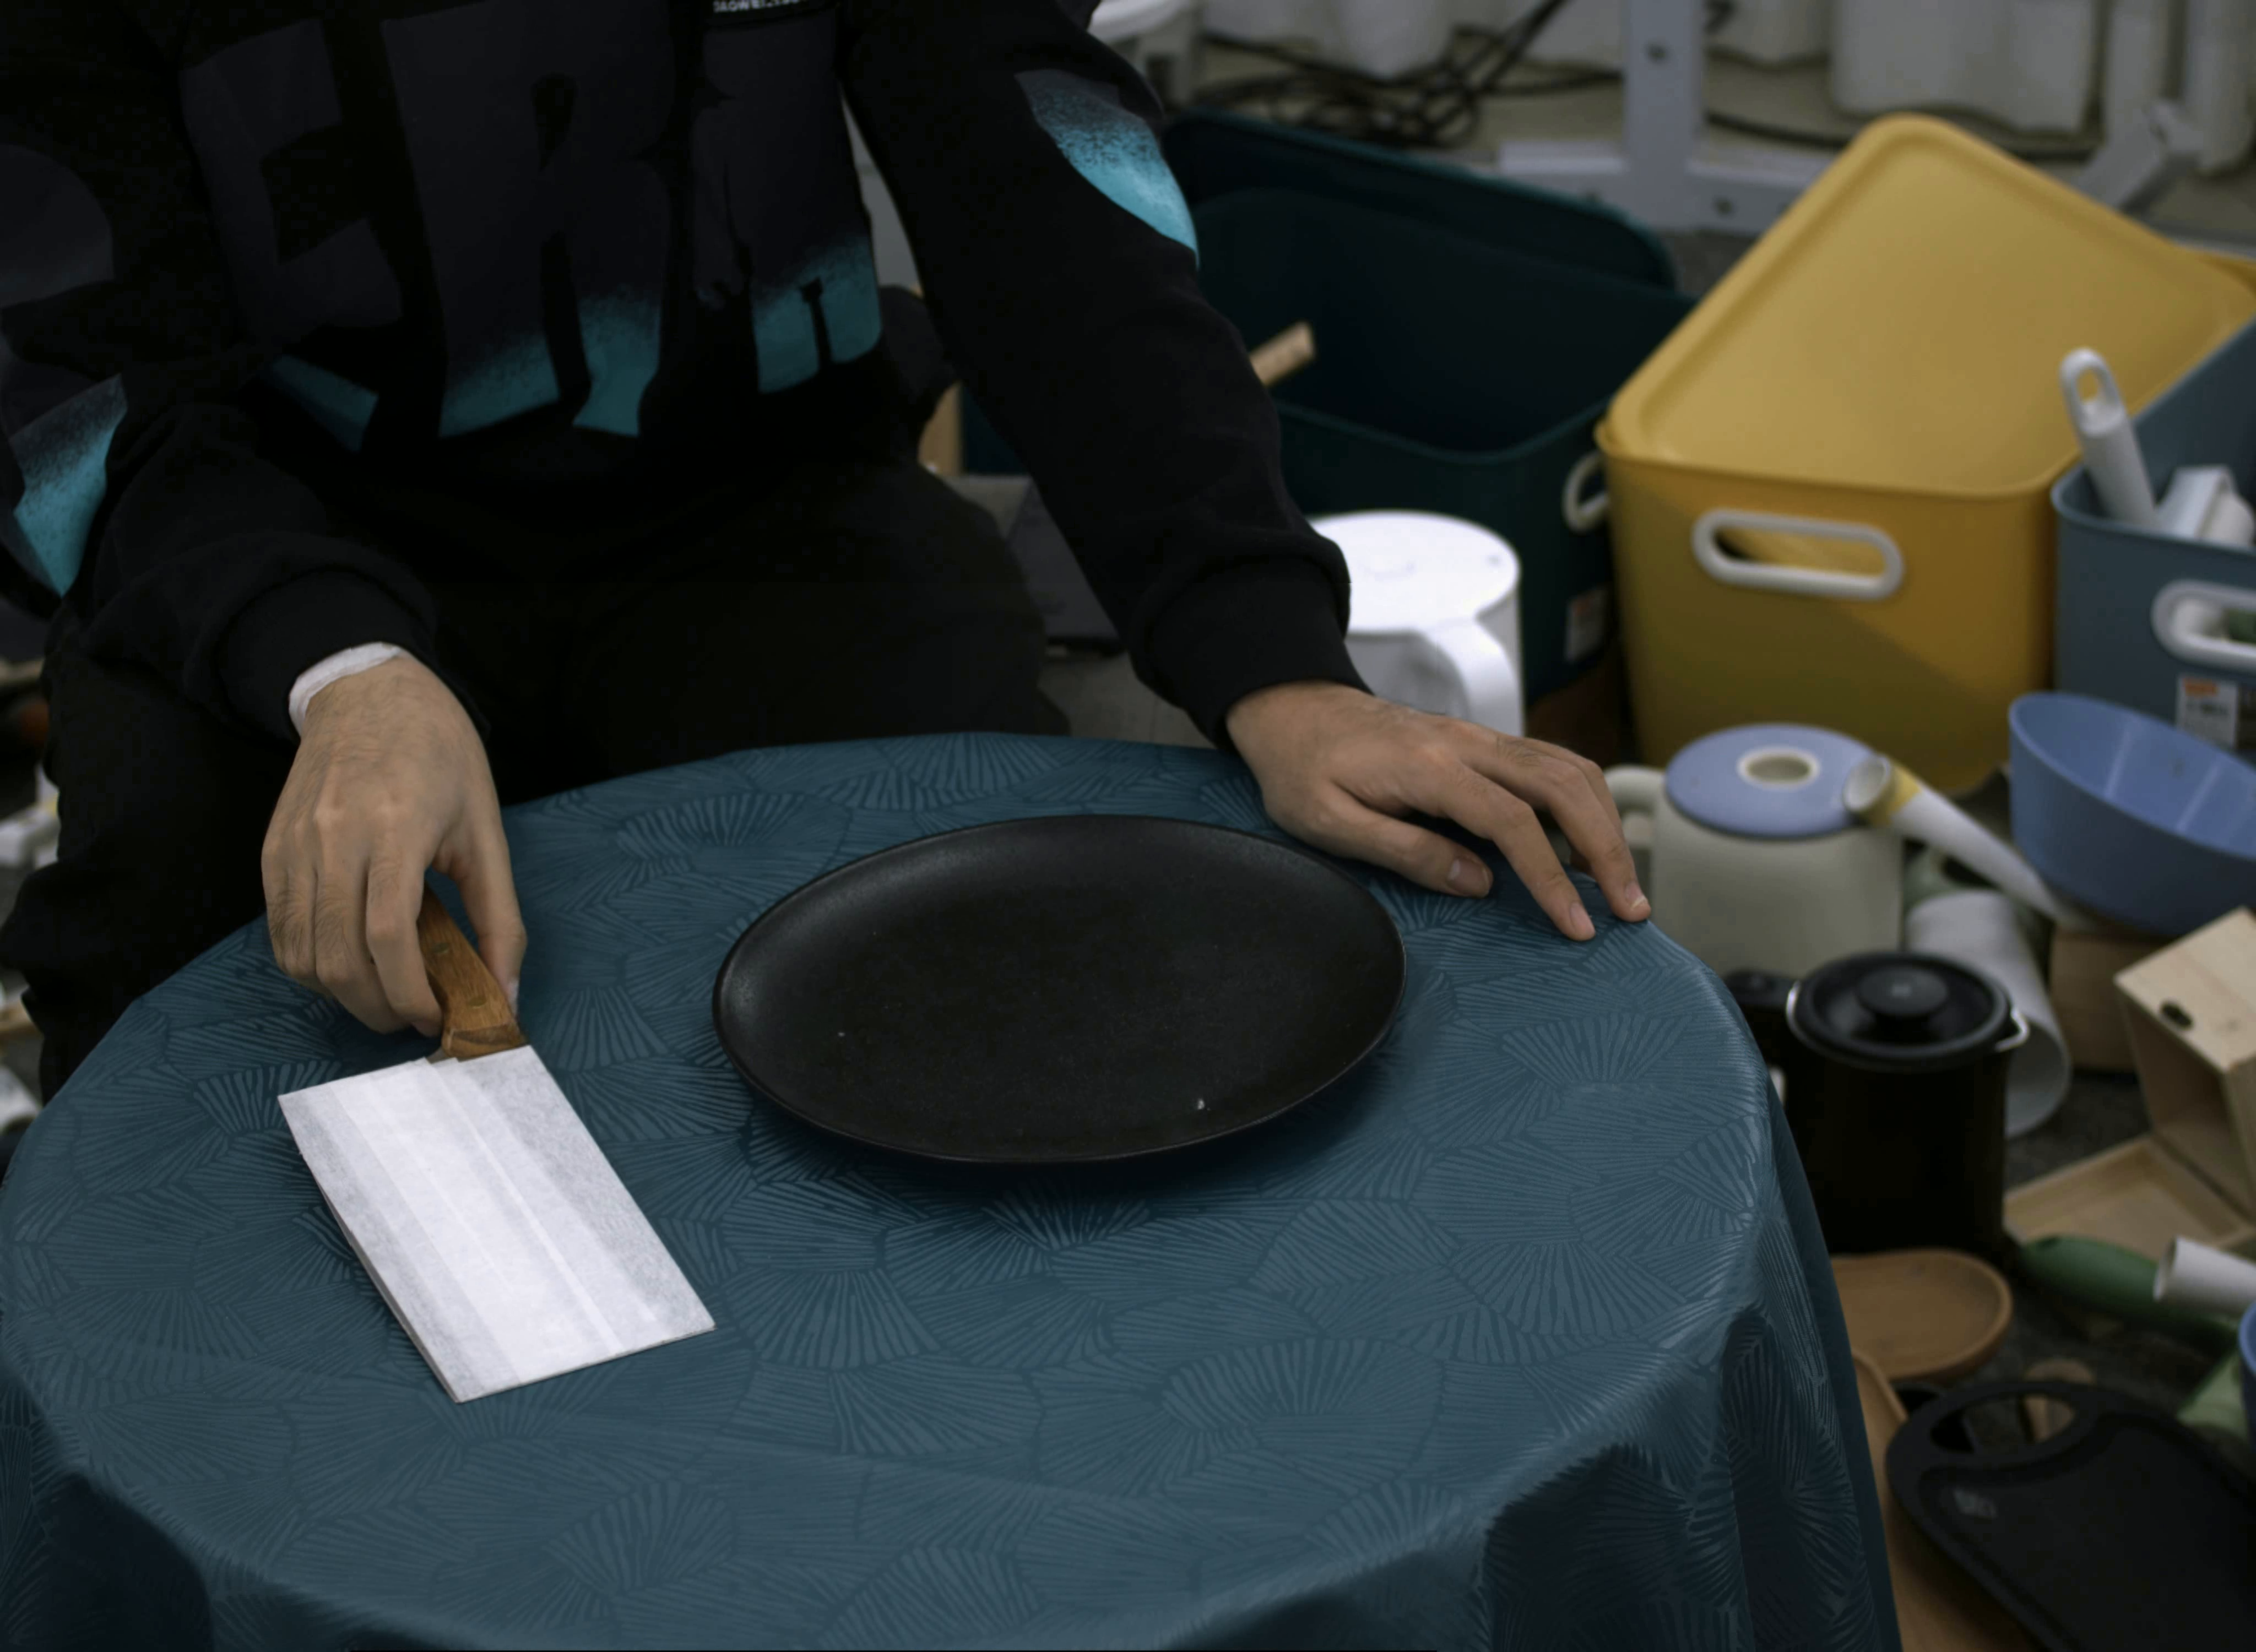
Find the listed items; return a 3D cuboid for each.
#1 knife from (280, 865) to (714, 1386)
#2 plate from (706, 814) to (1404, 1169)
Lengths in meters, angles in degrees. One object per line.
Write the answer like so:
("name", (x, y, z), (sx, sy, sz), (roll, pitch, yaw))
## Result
("knife", (-0.233, 0.100, 1.901), (0.093, 0.021, 0.308), (-14, 34, -20))
("plate", (-0.025, 0.062, 1.953), (0.243, 0.023, 0.248), (-2, 28, 2))
